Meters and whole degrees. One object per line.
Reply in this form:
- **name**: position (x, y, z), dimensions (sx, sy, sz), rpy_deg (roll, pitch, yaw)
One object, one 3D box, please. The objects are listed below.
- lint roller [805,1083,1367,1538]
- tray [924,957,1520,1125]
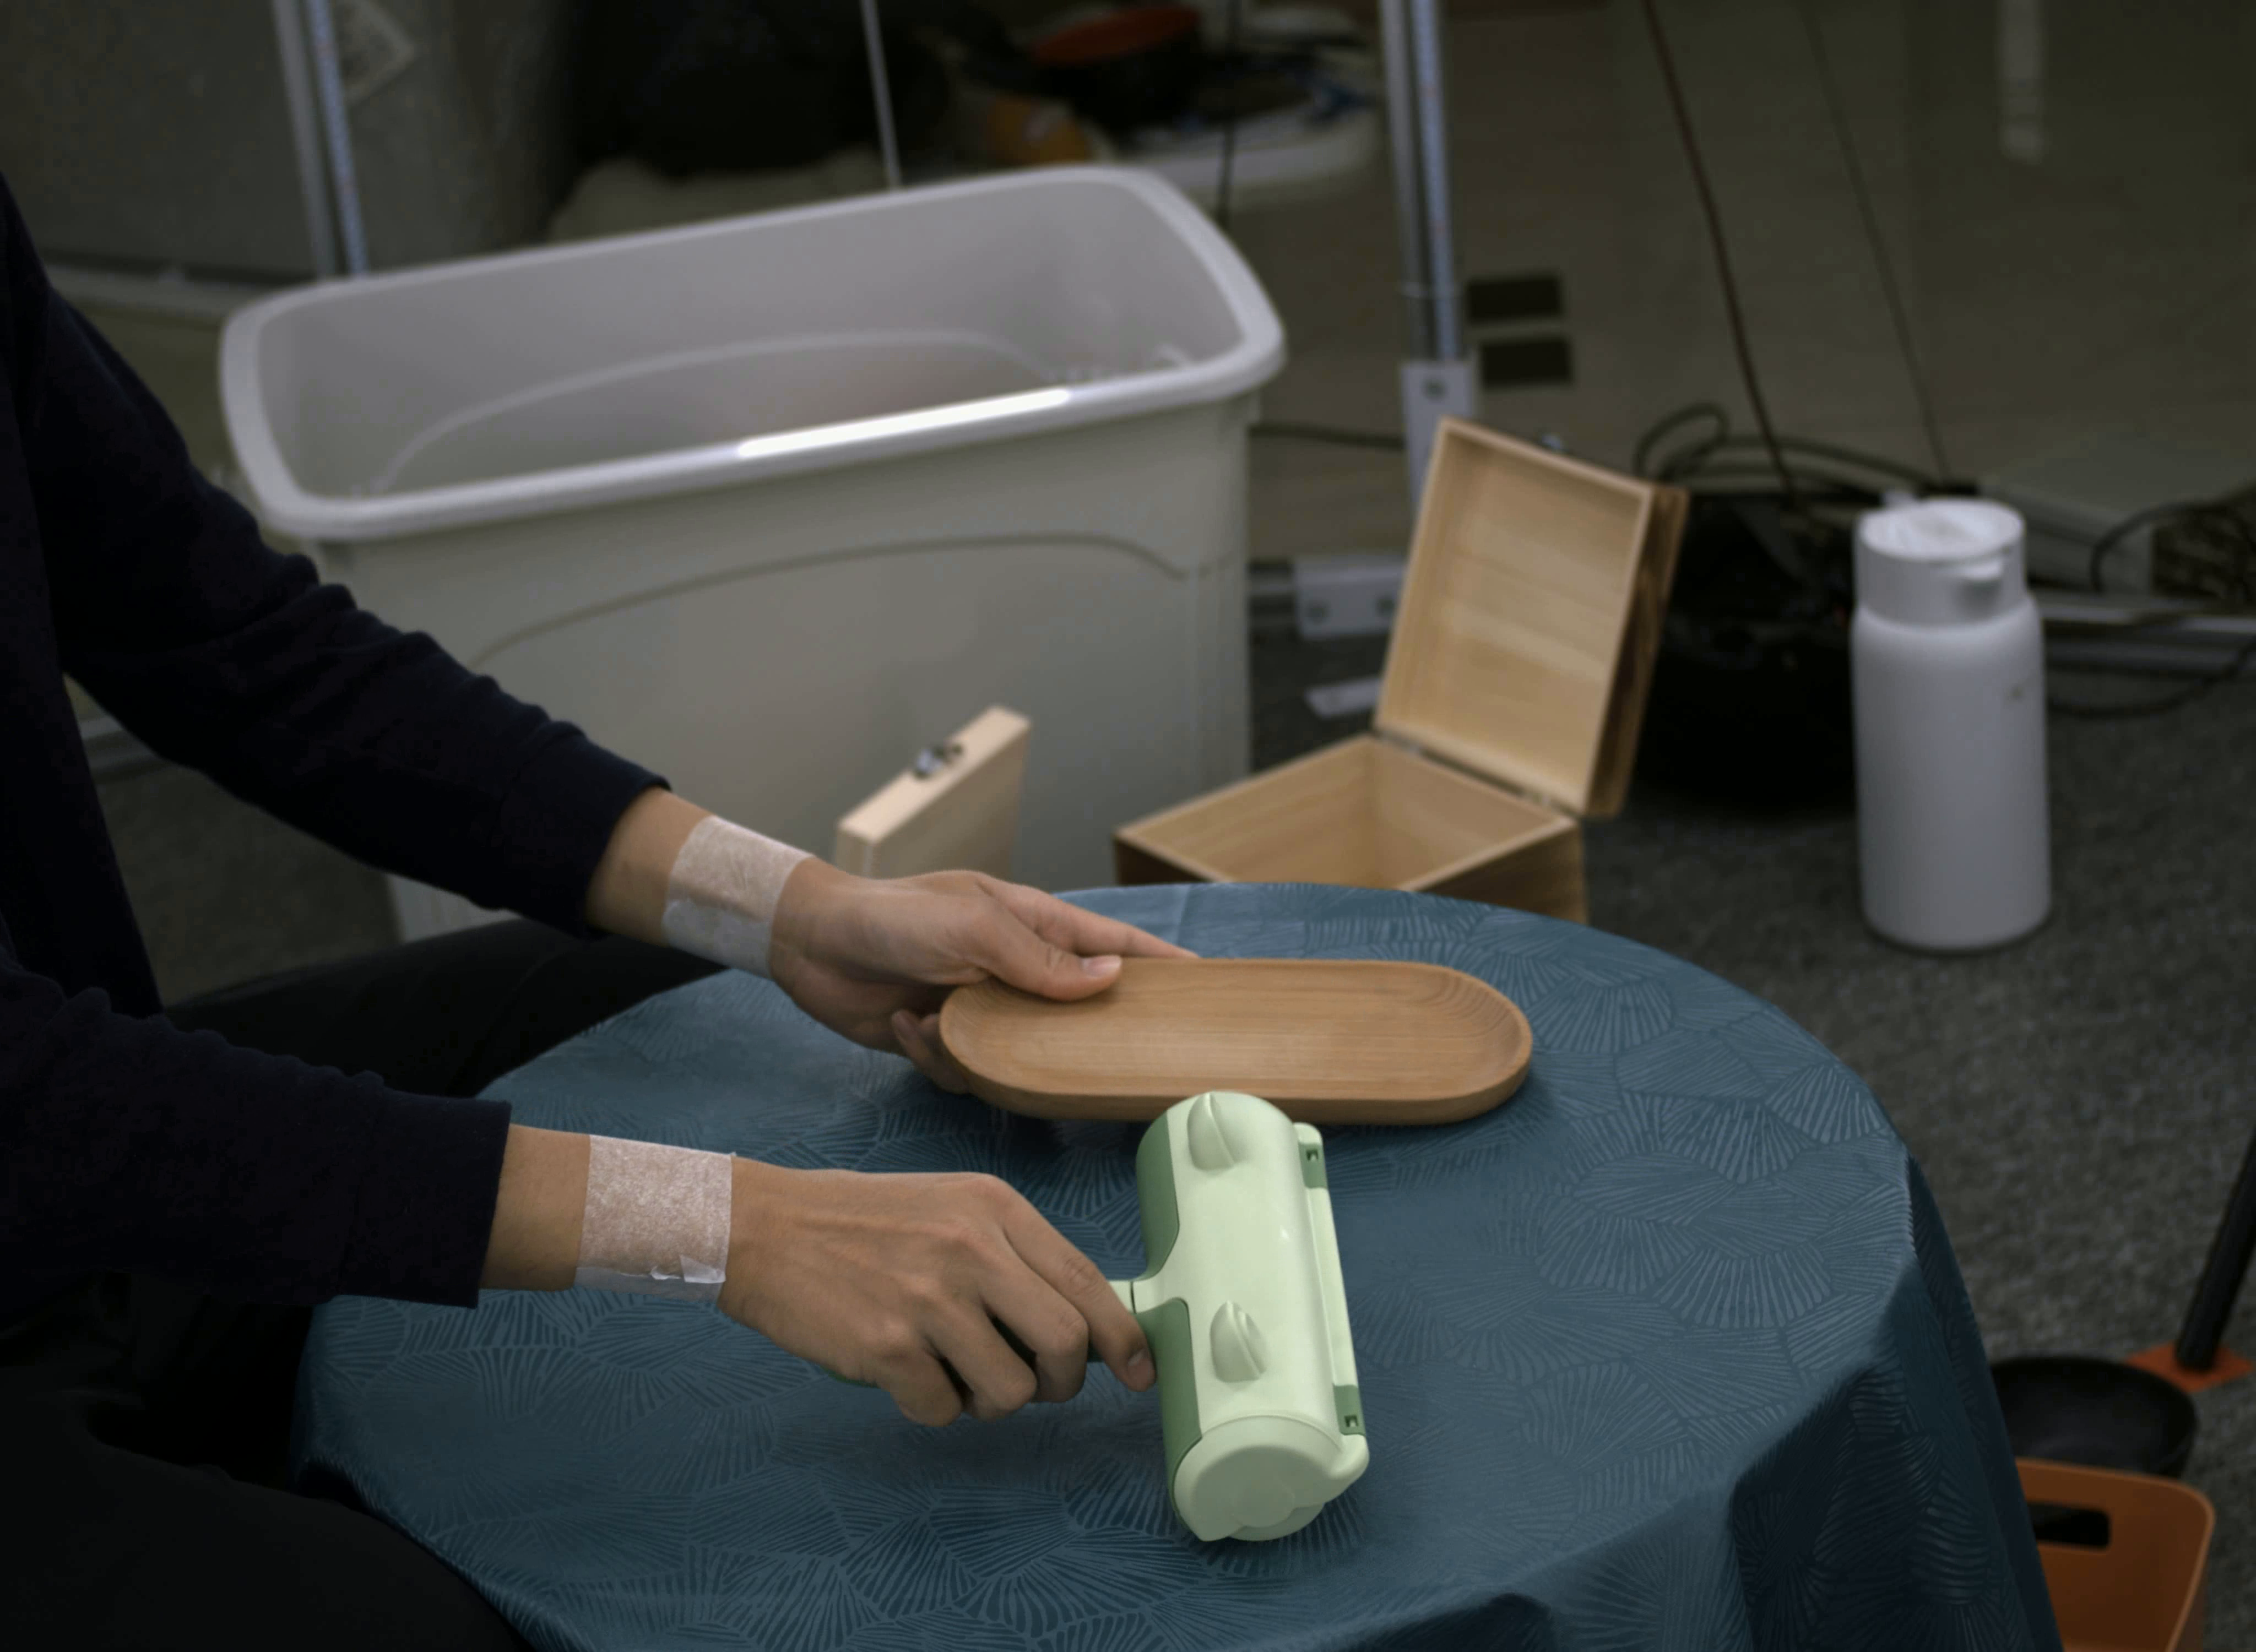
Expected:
- **lint roller**: position (-0.017, 0.155, 1.960), dimensions (0.183, 0.084, 0.195), rpy_deg (5, 35, -9)
- **tray**: position (0.036, 0.084, 2.196), dimensions (0.231, 0.020, 0.100), rpy_deg (0, 30, -3)
